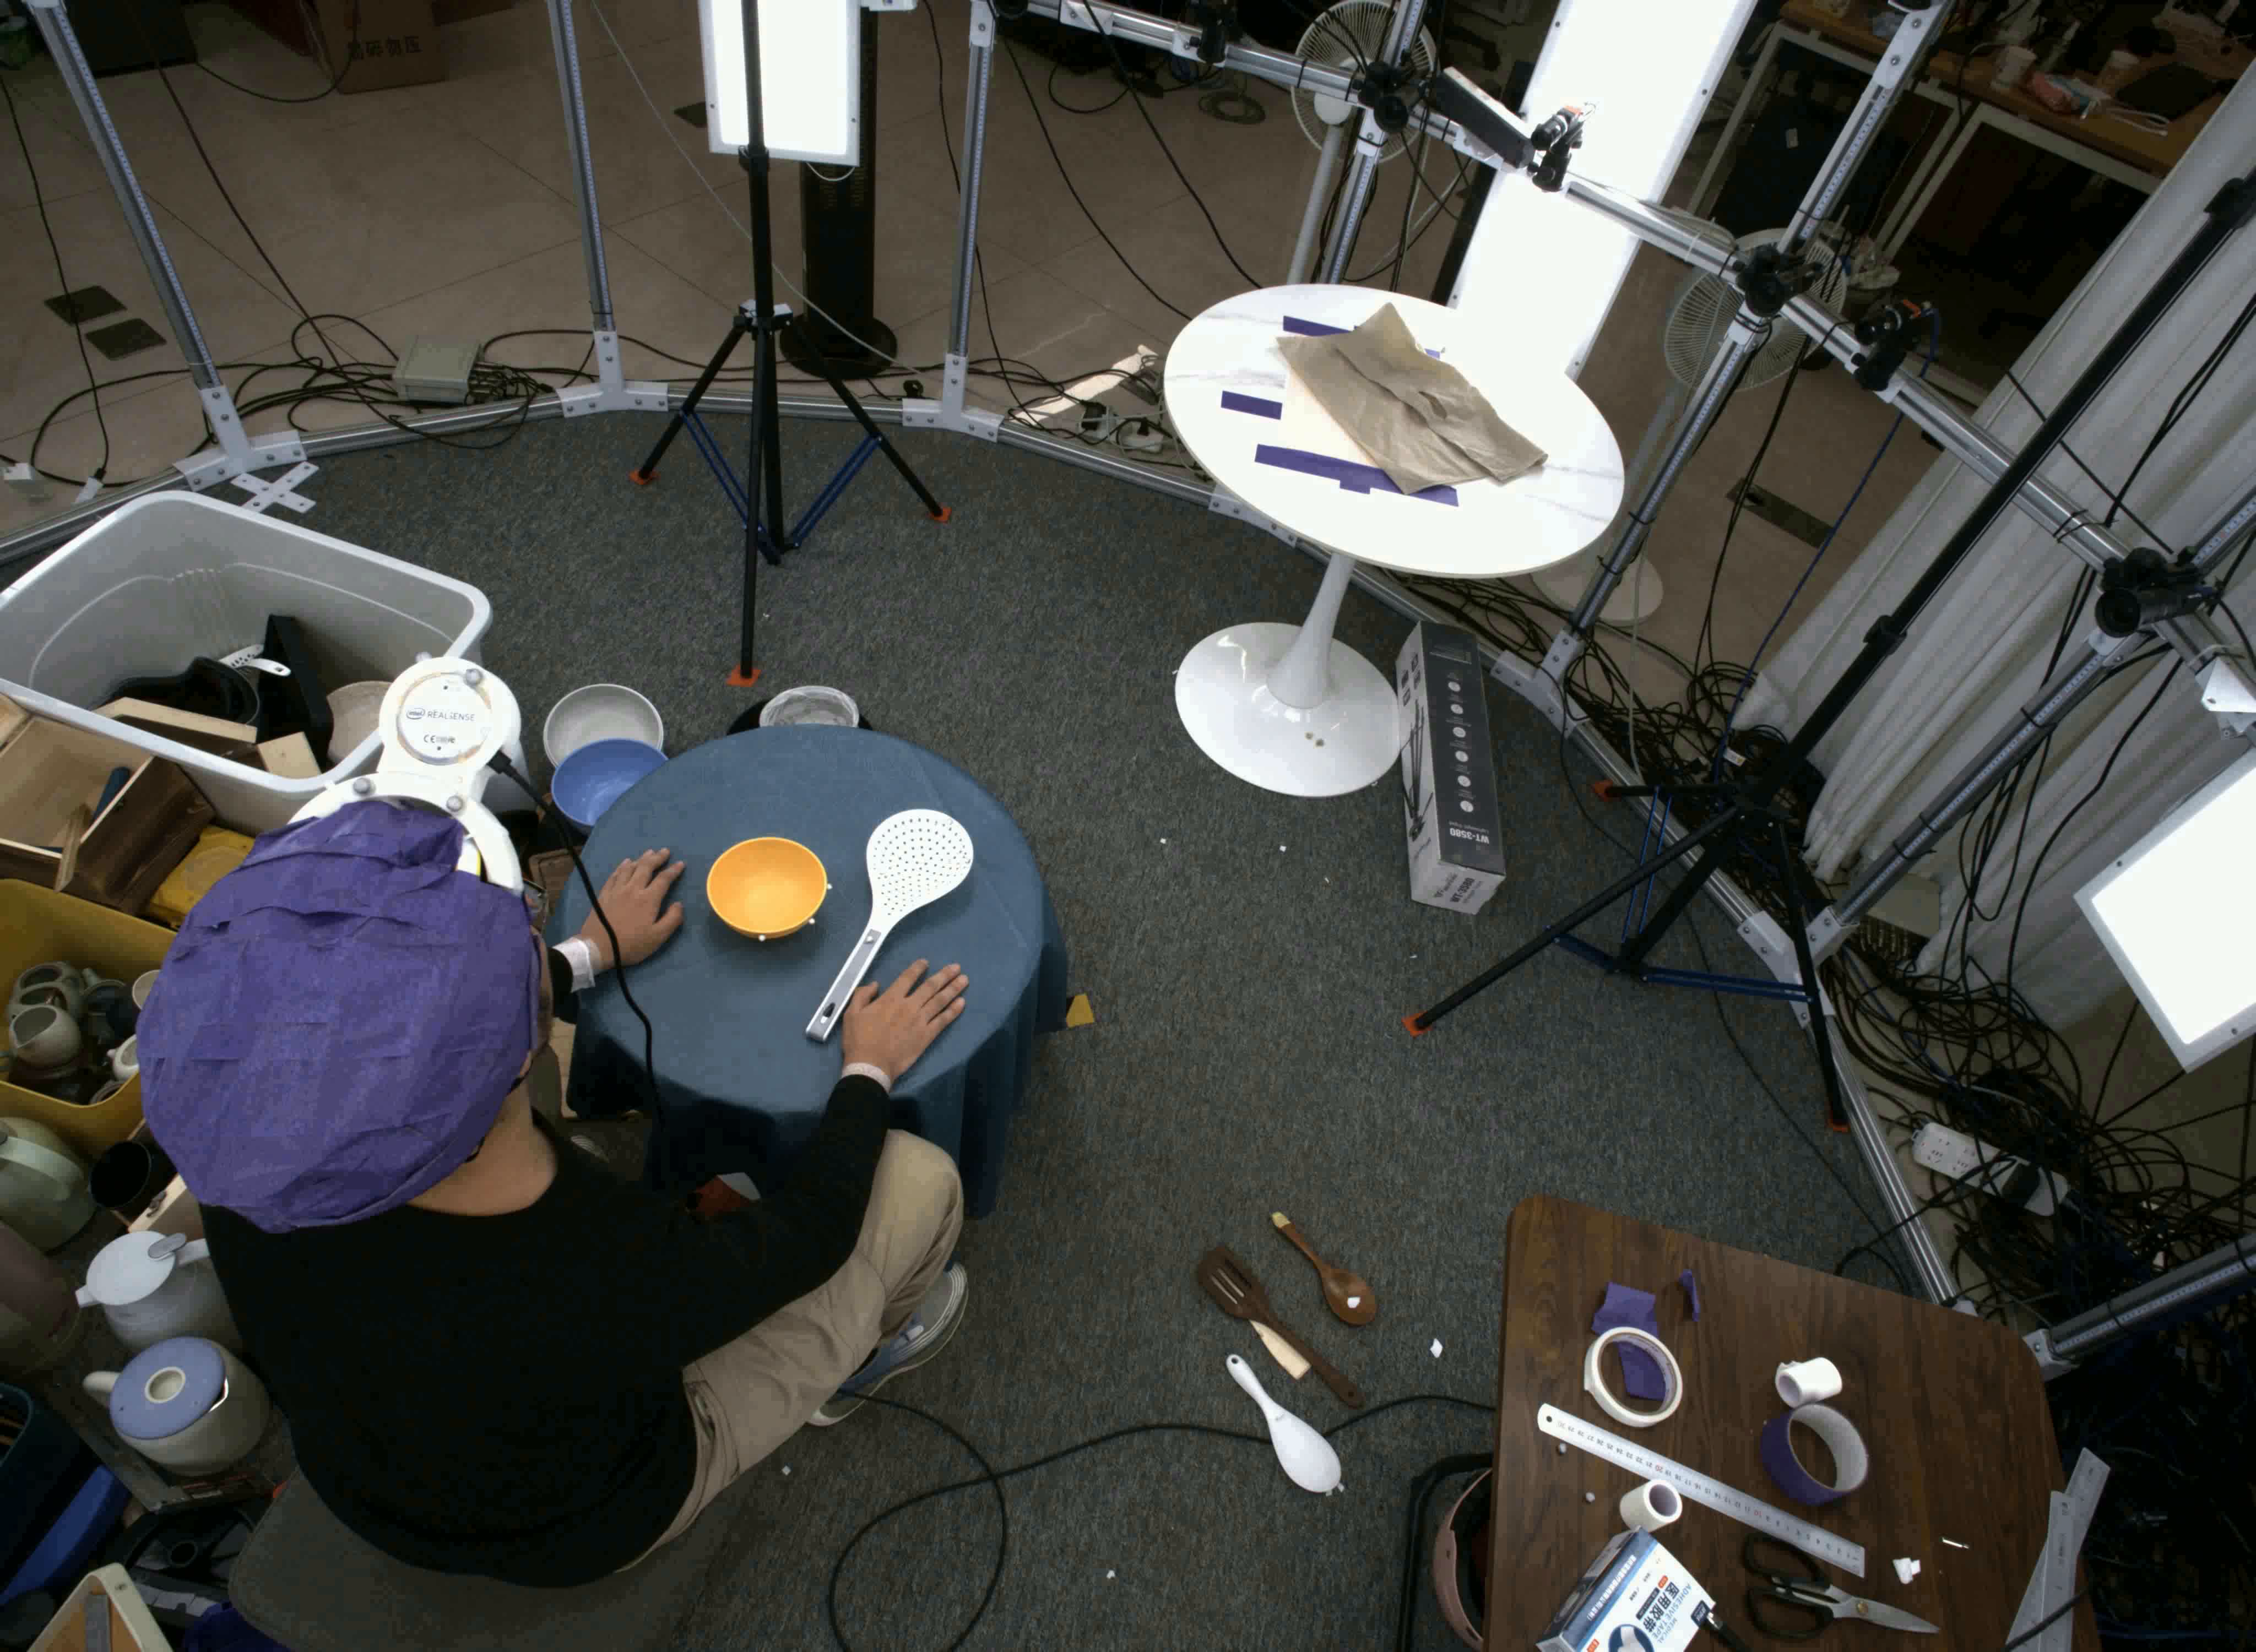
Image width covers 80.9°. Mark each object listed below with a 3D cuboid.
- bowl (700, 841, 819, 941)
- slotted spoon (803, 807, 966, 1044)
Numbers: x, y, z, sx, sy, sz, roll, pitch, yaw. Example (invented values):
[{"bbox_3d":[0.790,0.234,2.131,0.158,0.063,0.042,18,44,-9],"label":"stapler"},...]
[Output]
[{"bbox_3d":[-0.455,0.090,1.607,0.145,0.061,0.142,8,50,-8],"label":"bowl"},{"bbox_3d":[-0.315,0.118,1.630,0.134,0.046,0.347,22,53,3],"label":"slotted spoon"}]
